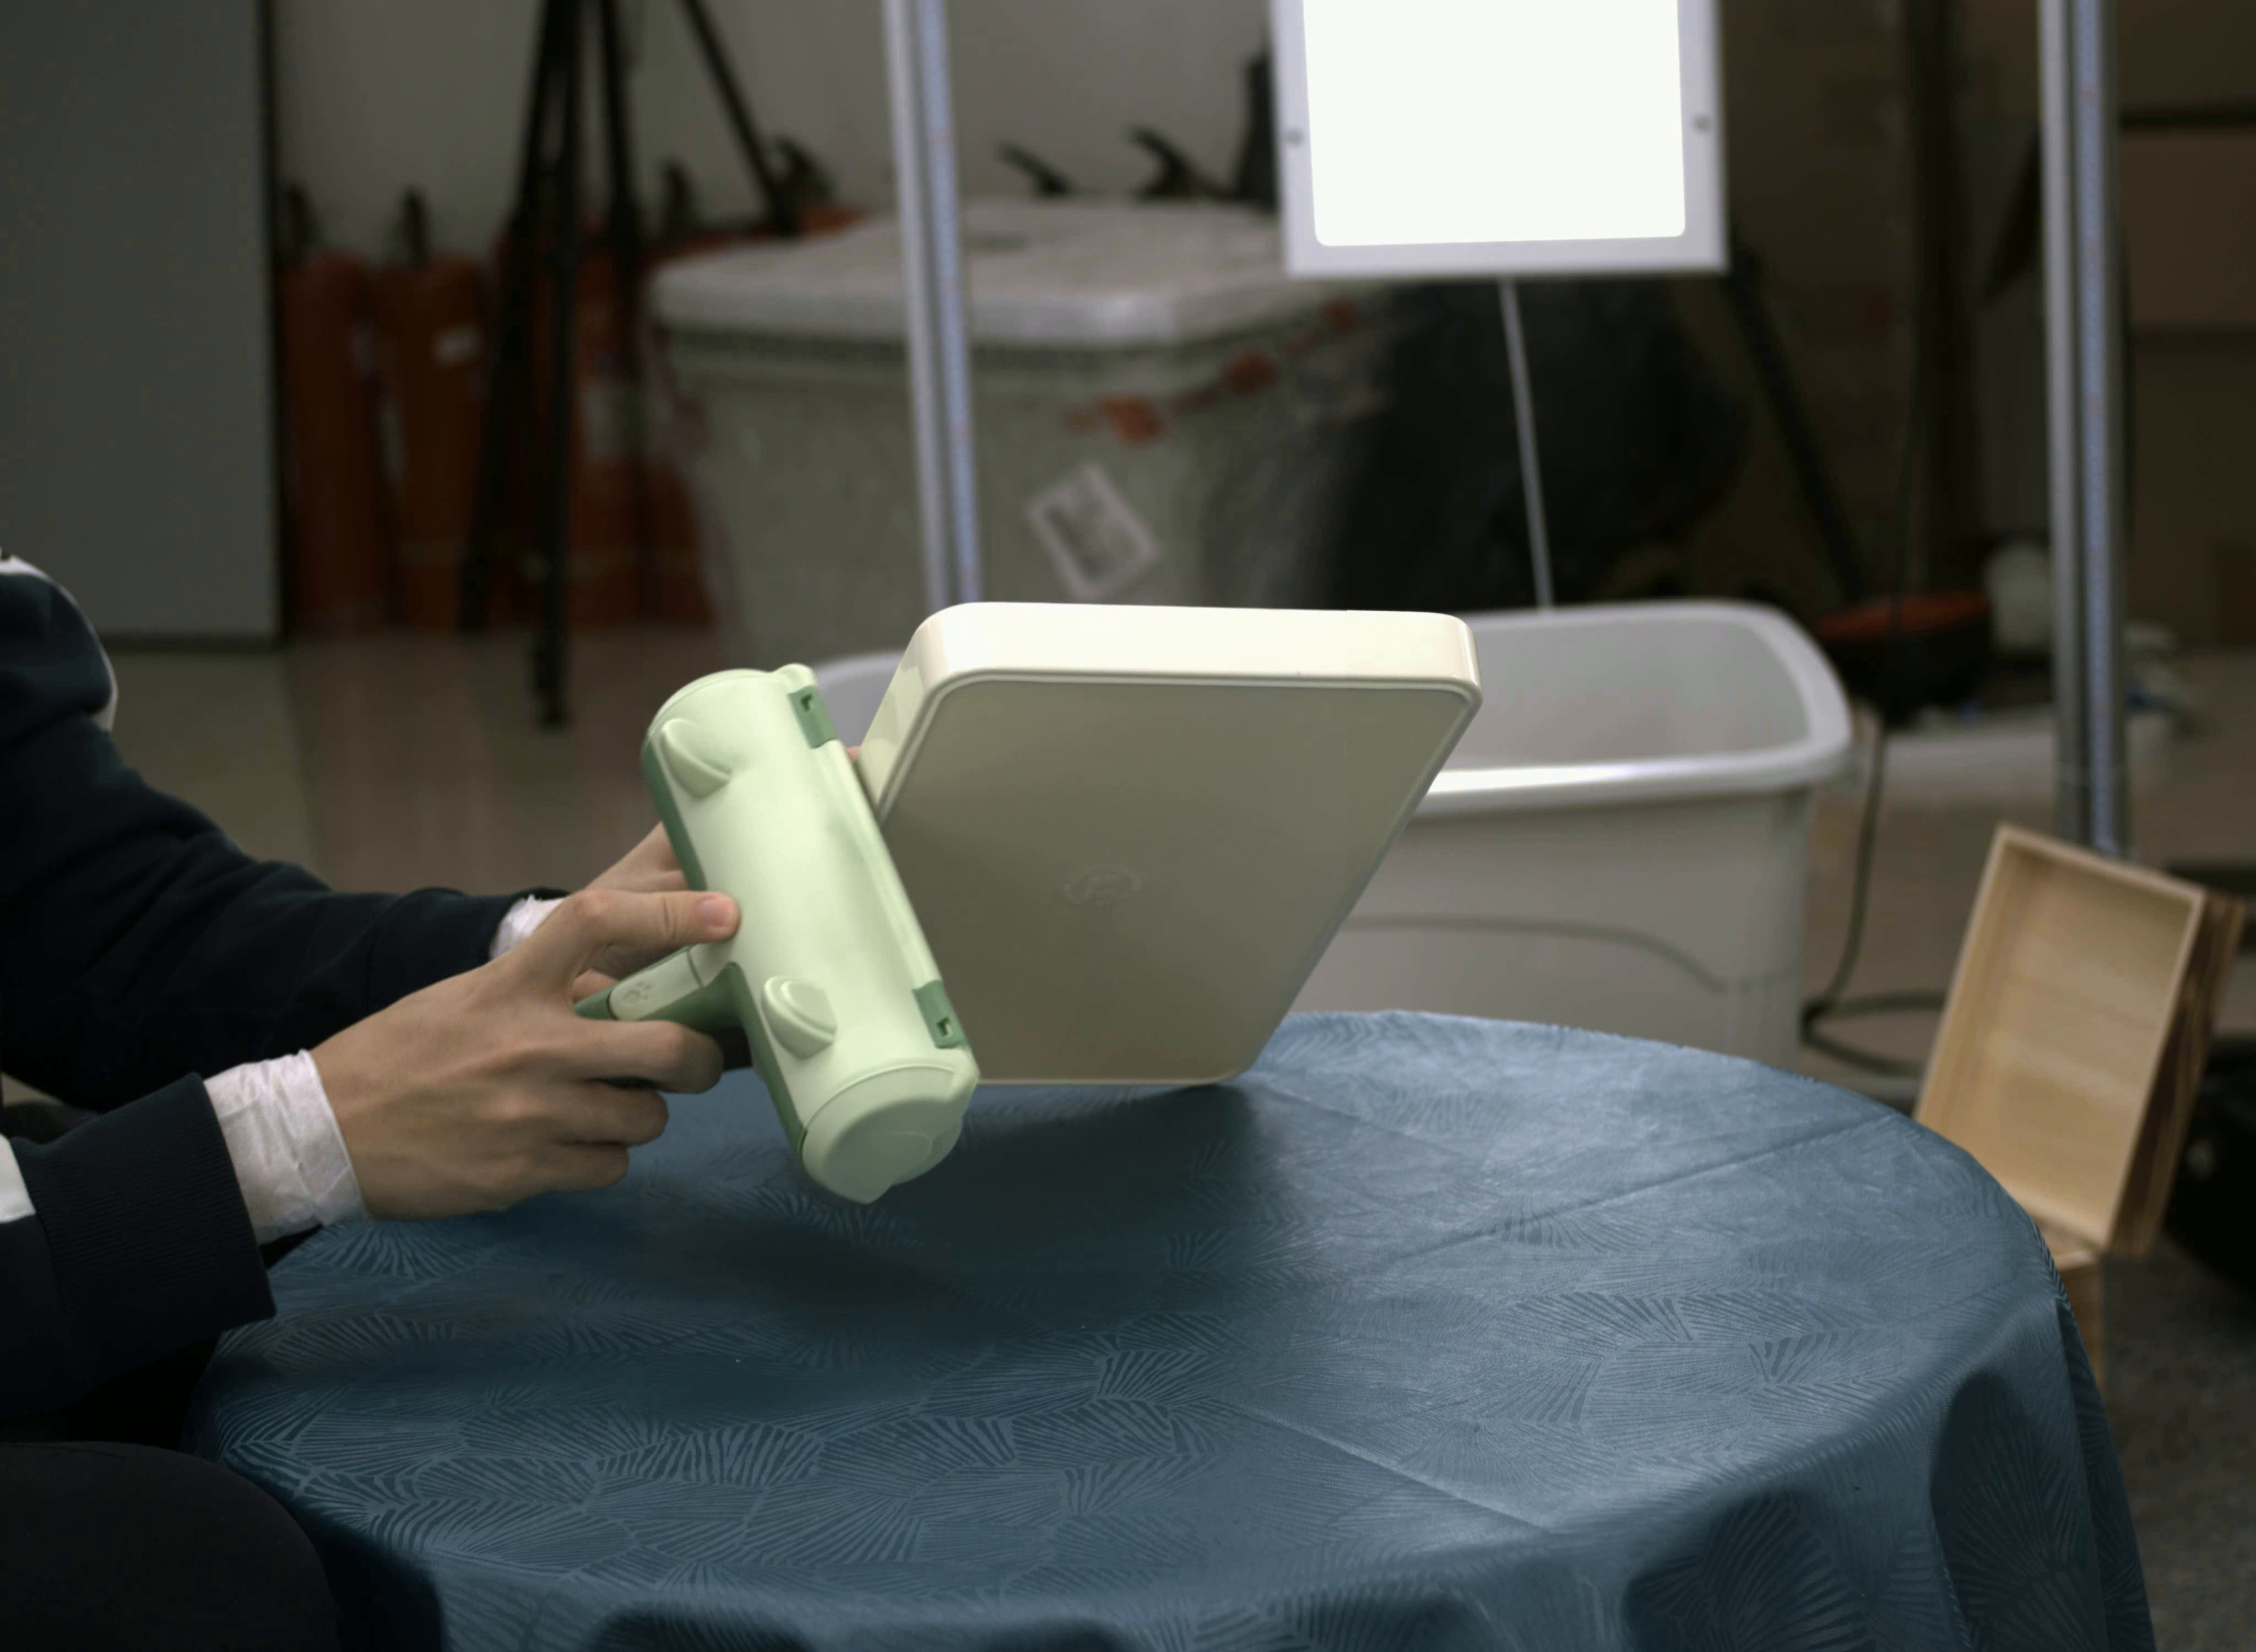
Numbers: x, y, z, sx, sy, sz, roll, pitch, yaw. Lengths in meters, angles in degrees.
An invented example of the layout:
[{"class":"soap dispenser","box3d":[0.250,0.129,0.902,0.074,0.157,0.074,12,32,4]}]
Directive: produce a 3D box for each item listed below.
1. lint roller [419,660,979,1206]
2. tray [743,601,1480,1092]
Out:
[{"class":"lint roller","box3d":[-0.157,0.052,1.778,0.183,0.081,0.200,-26,51,3]},{"class":"tray","box3d":[-0.011,0.013,1.870,0.189,0.027,0.304,1,-29,-16]}]
